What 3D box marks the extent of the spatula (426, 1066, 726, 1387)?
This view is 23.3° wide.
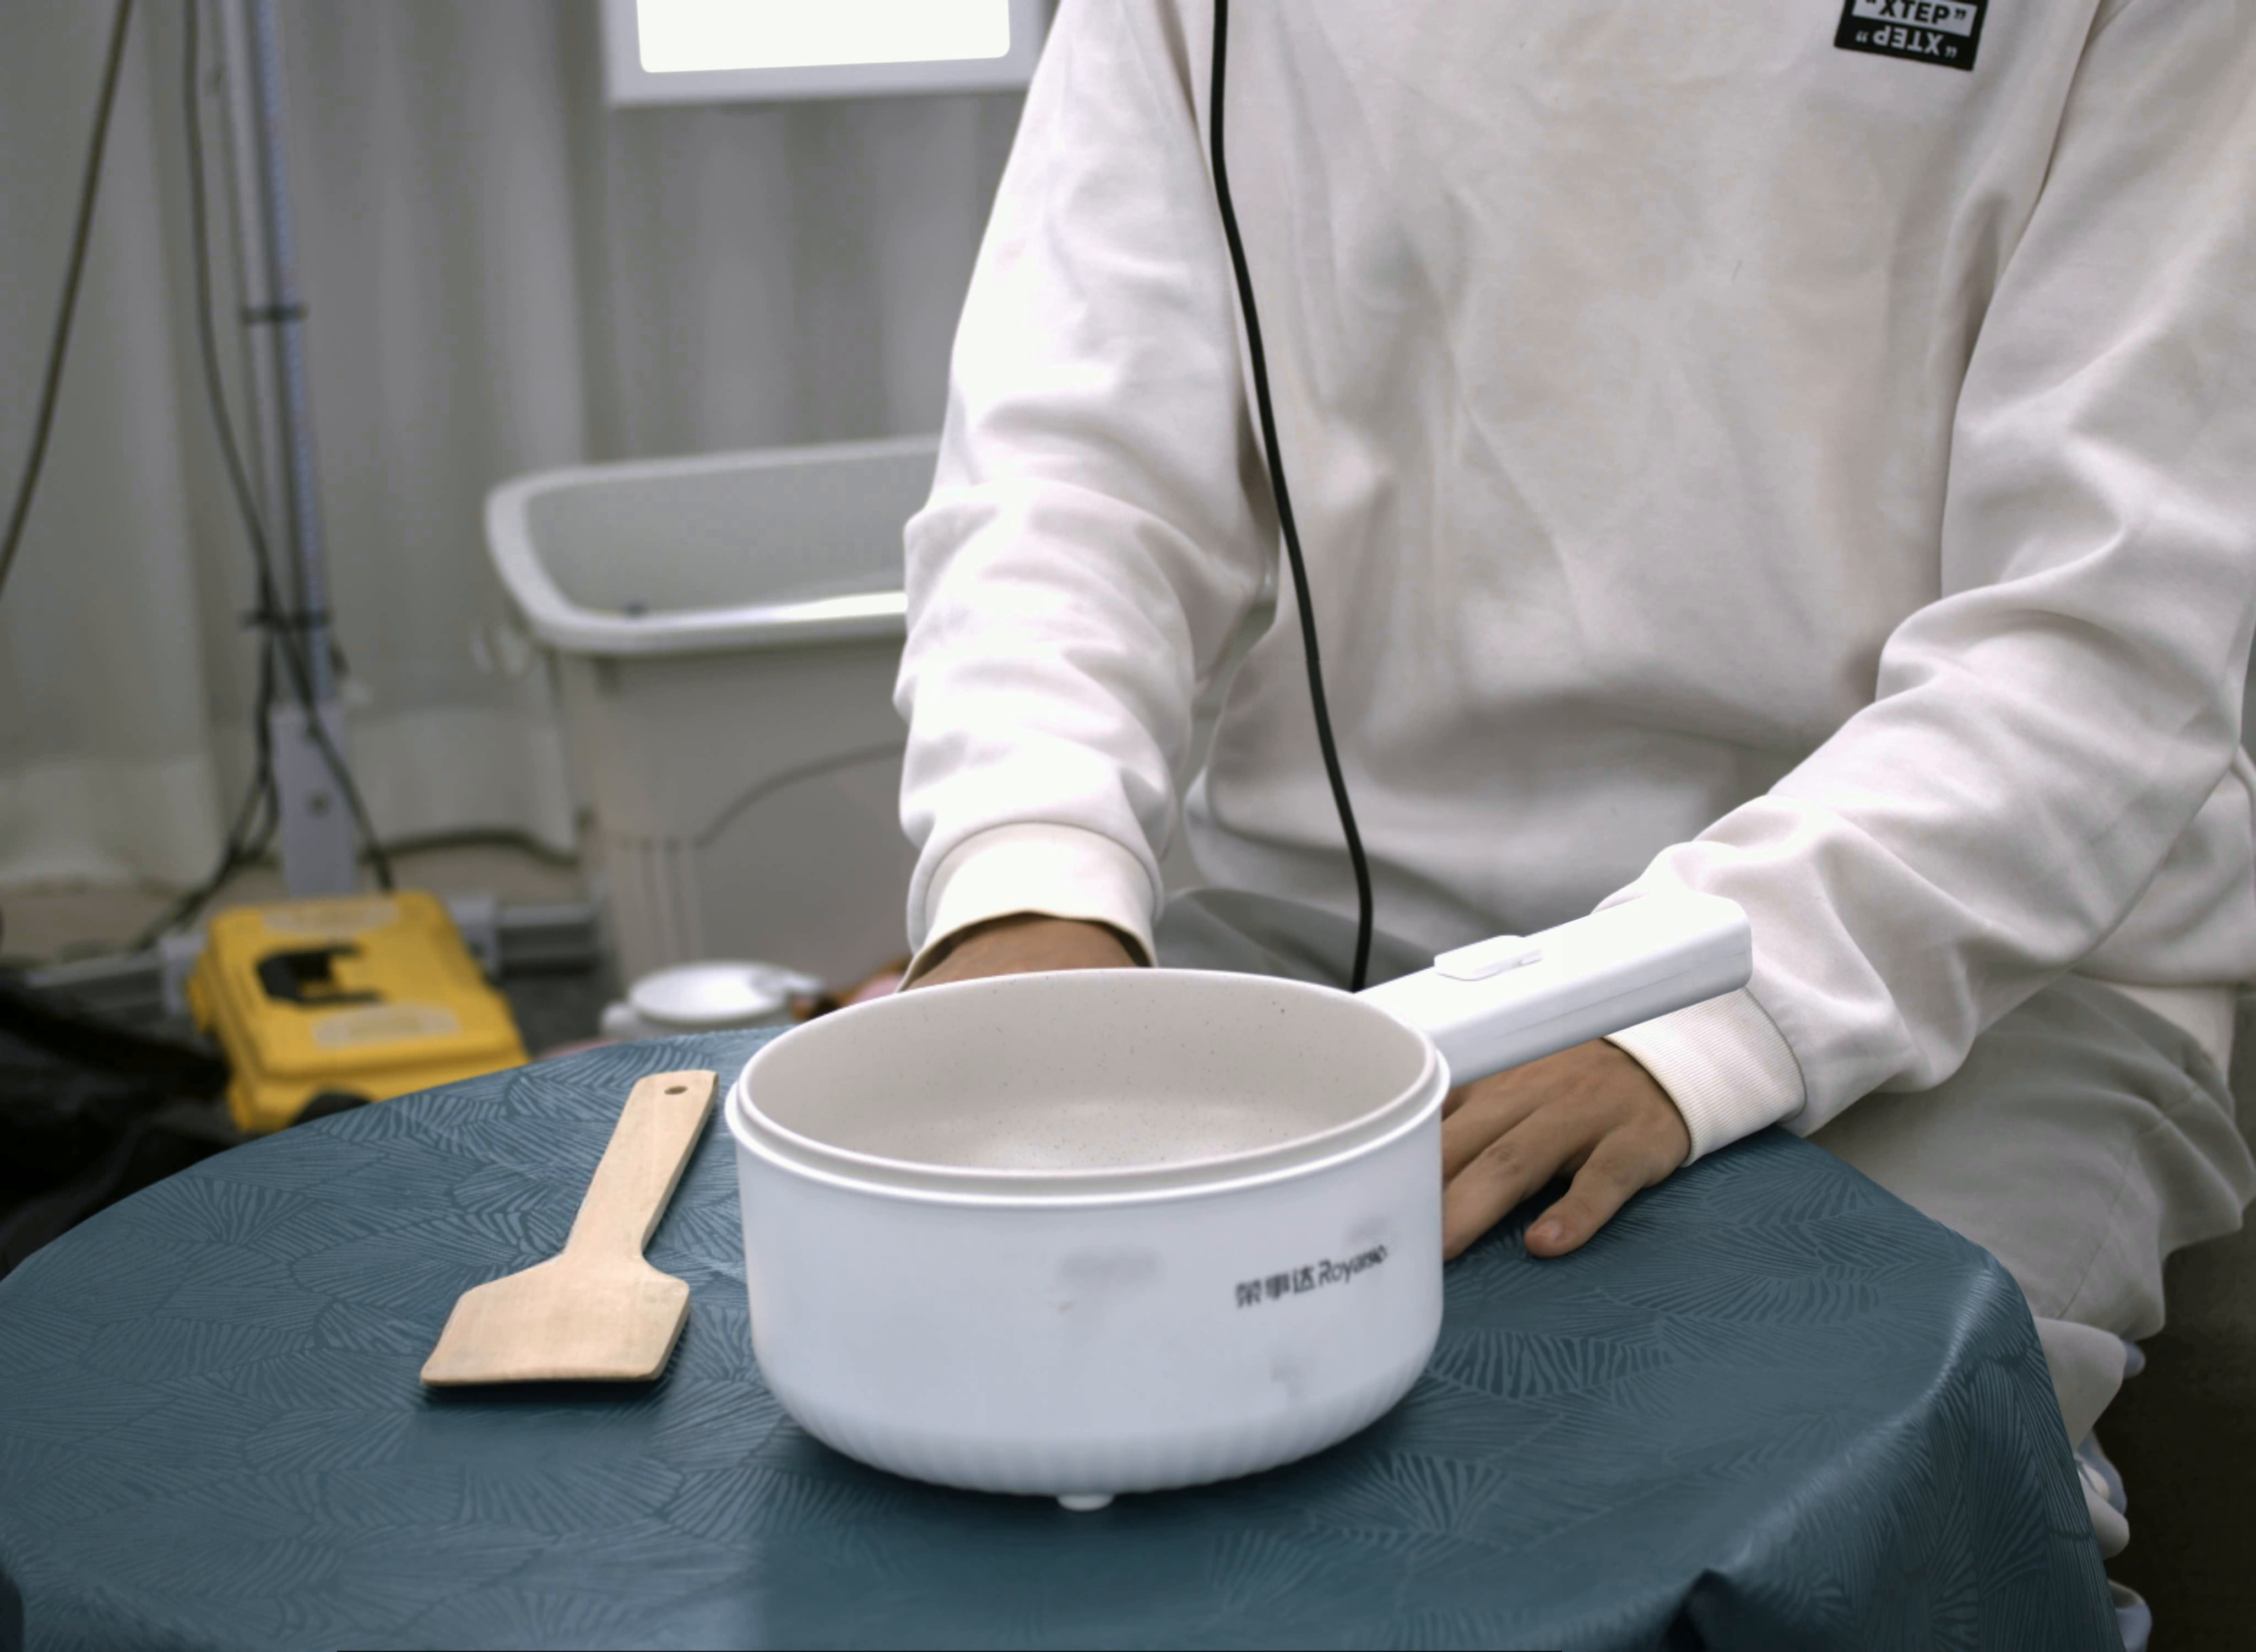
[{"bbox_3d":[-0.159,0.122,1.701,0.072,0.010,0.295,-3,15,5],"label":"spatula"}]

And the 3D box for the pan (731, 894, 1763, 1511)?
[{"bbox_3d":[0.049,0.101,1.573,0.354,0.102,0.202,-14,18,-40],"label":"pan"}]
